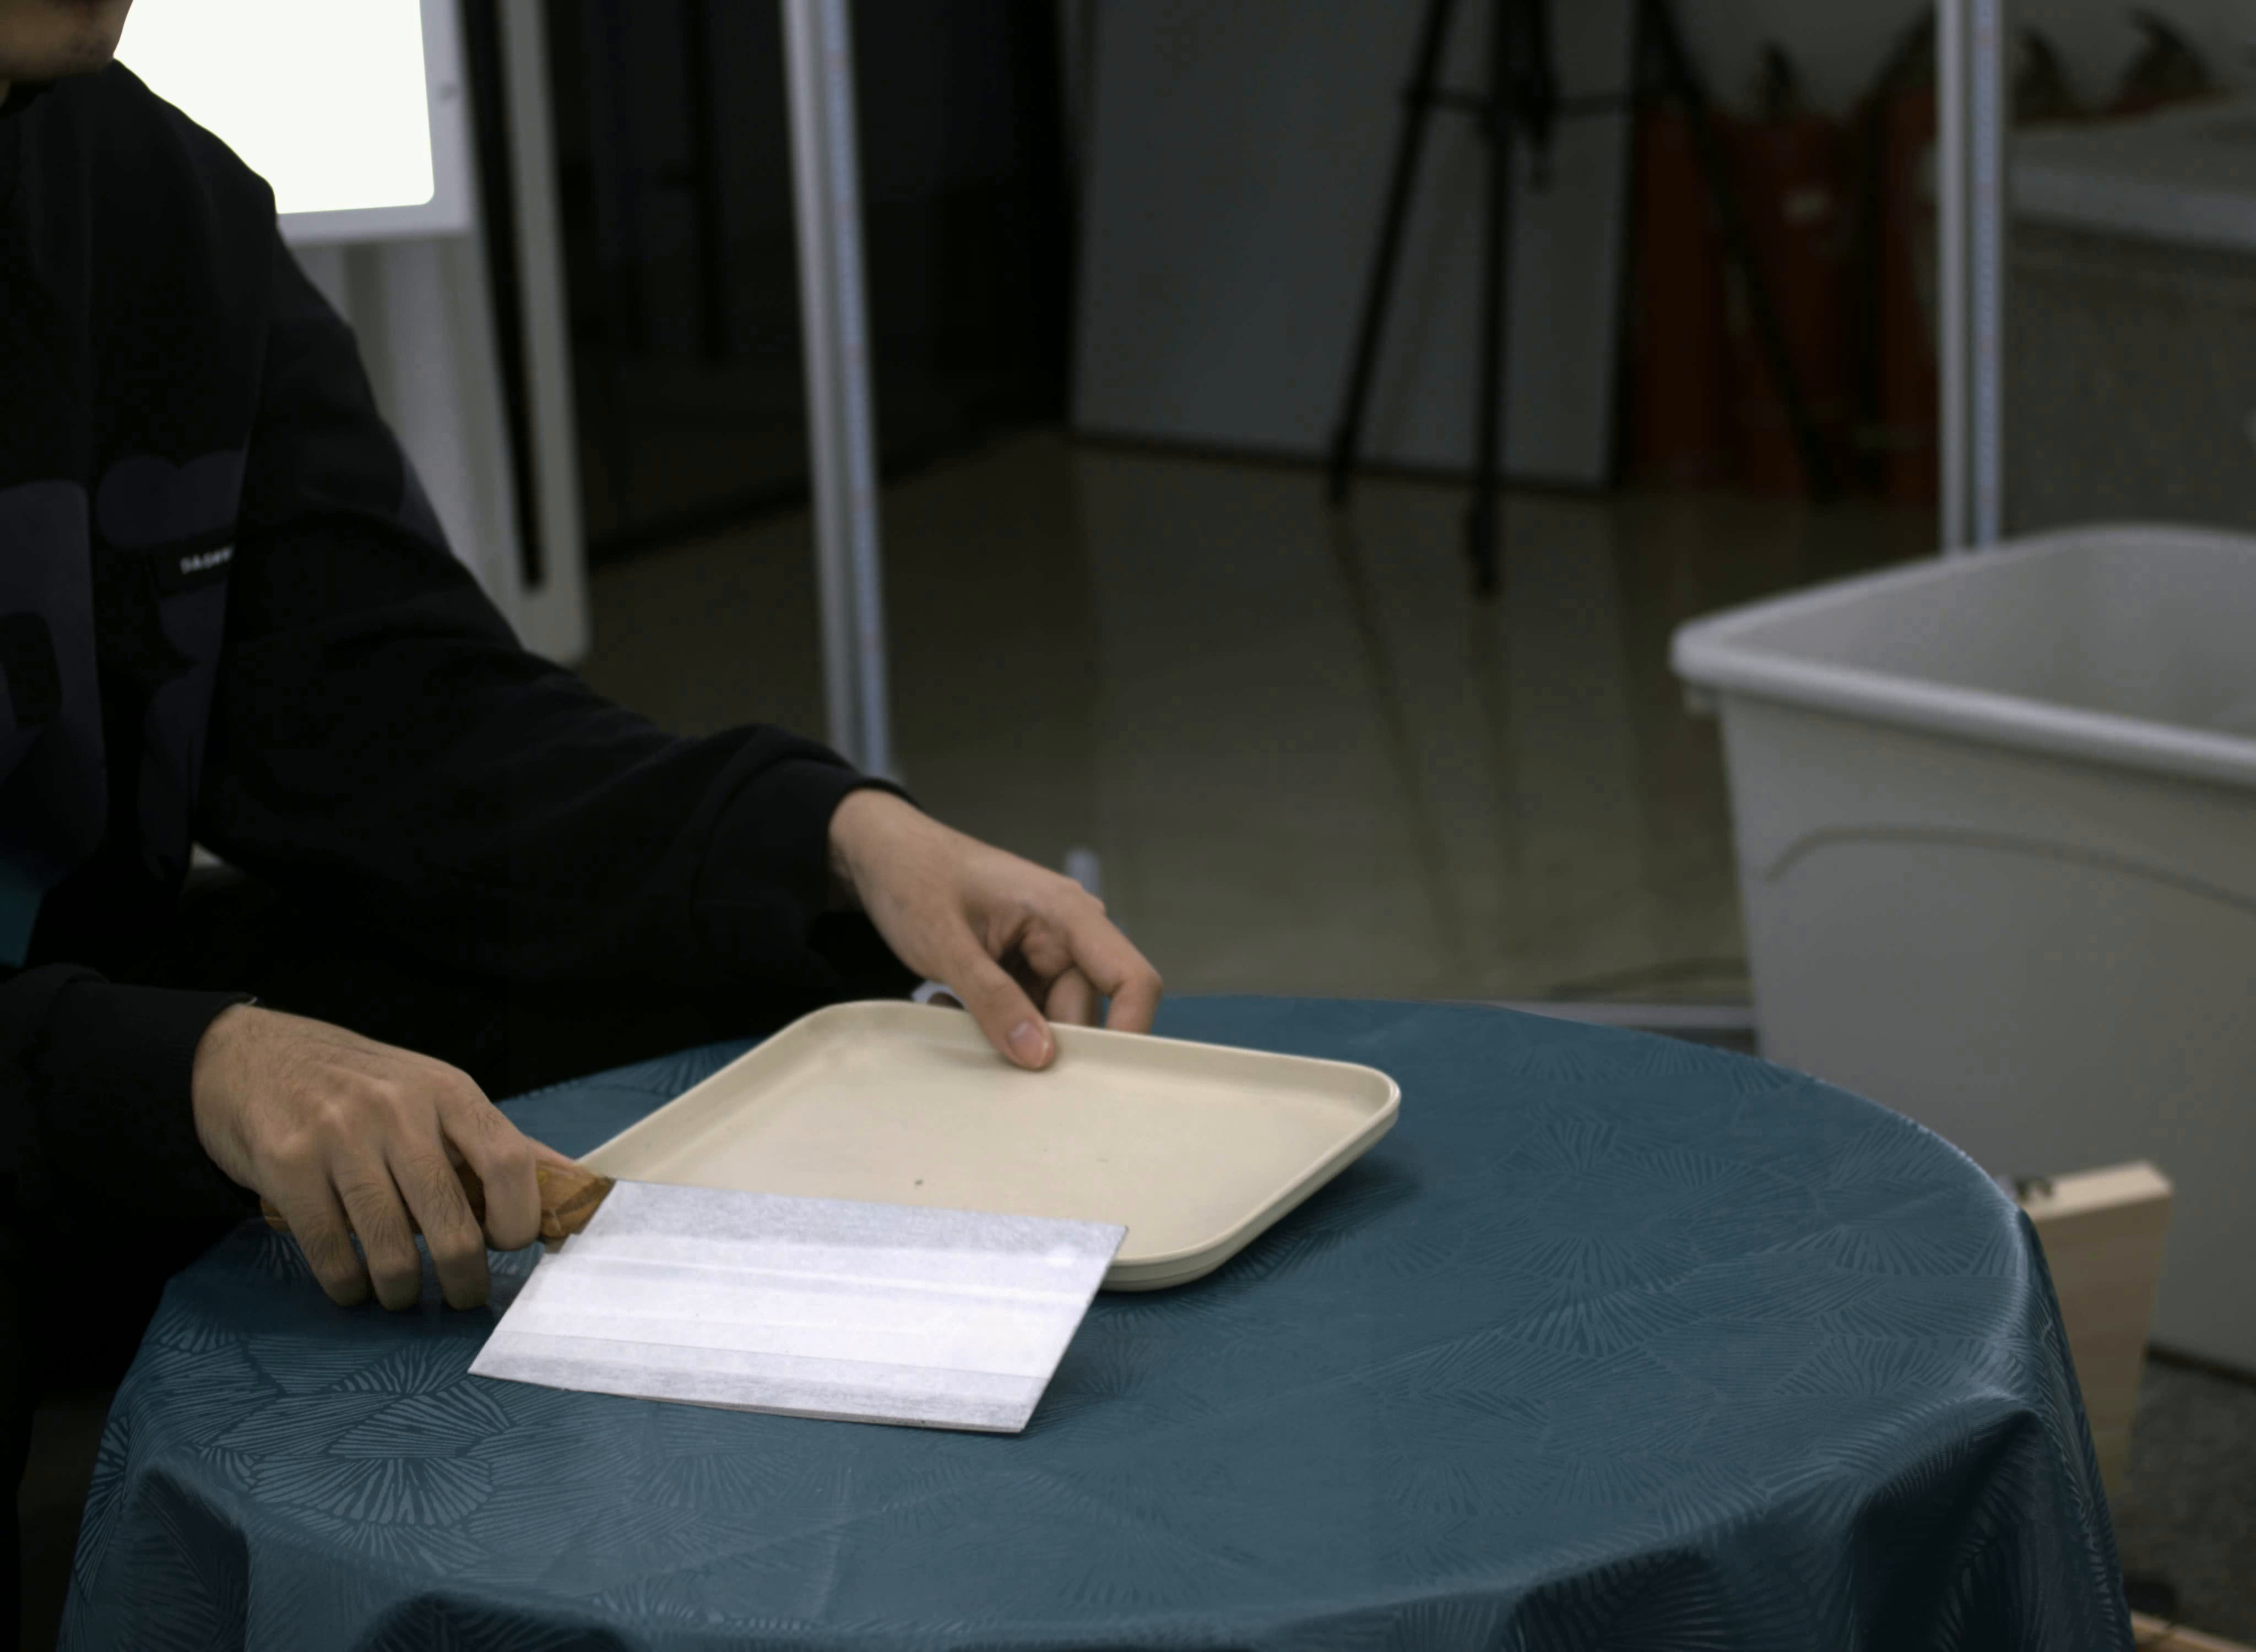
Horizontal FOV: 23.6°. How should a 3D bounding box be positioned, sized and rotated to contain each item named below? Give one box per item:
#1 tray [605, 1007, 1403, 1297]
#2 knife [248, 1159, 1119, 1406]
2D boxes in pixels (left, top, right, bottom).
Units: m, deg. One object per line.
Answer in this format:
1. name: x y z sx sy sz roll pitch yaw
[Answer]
1. tray: -0.040 0.106 1.777 0.241 0.017 0.169 6 23 33
2. knife: -0.149 0.141 1.653 0.306 0.021 0.092 3 39 27
